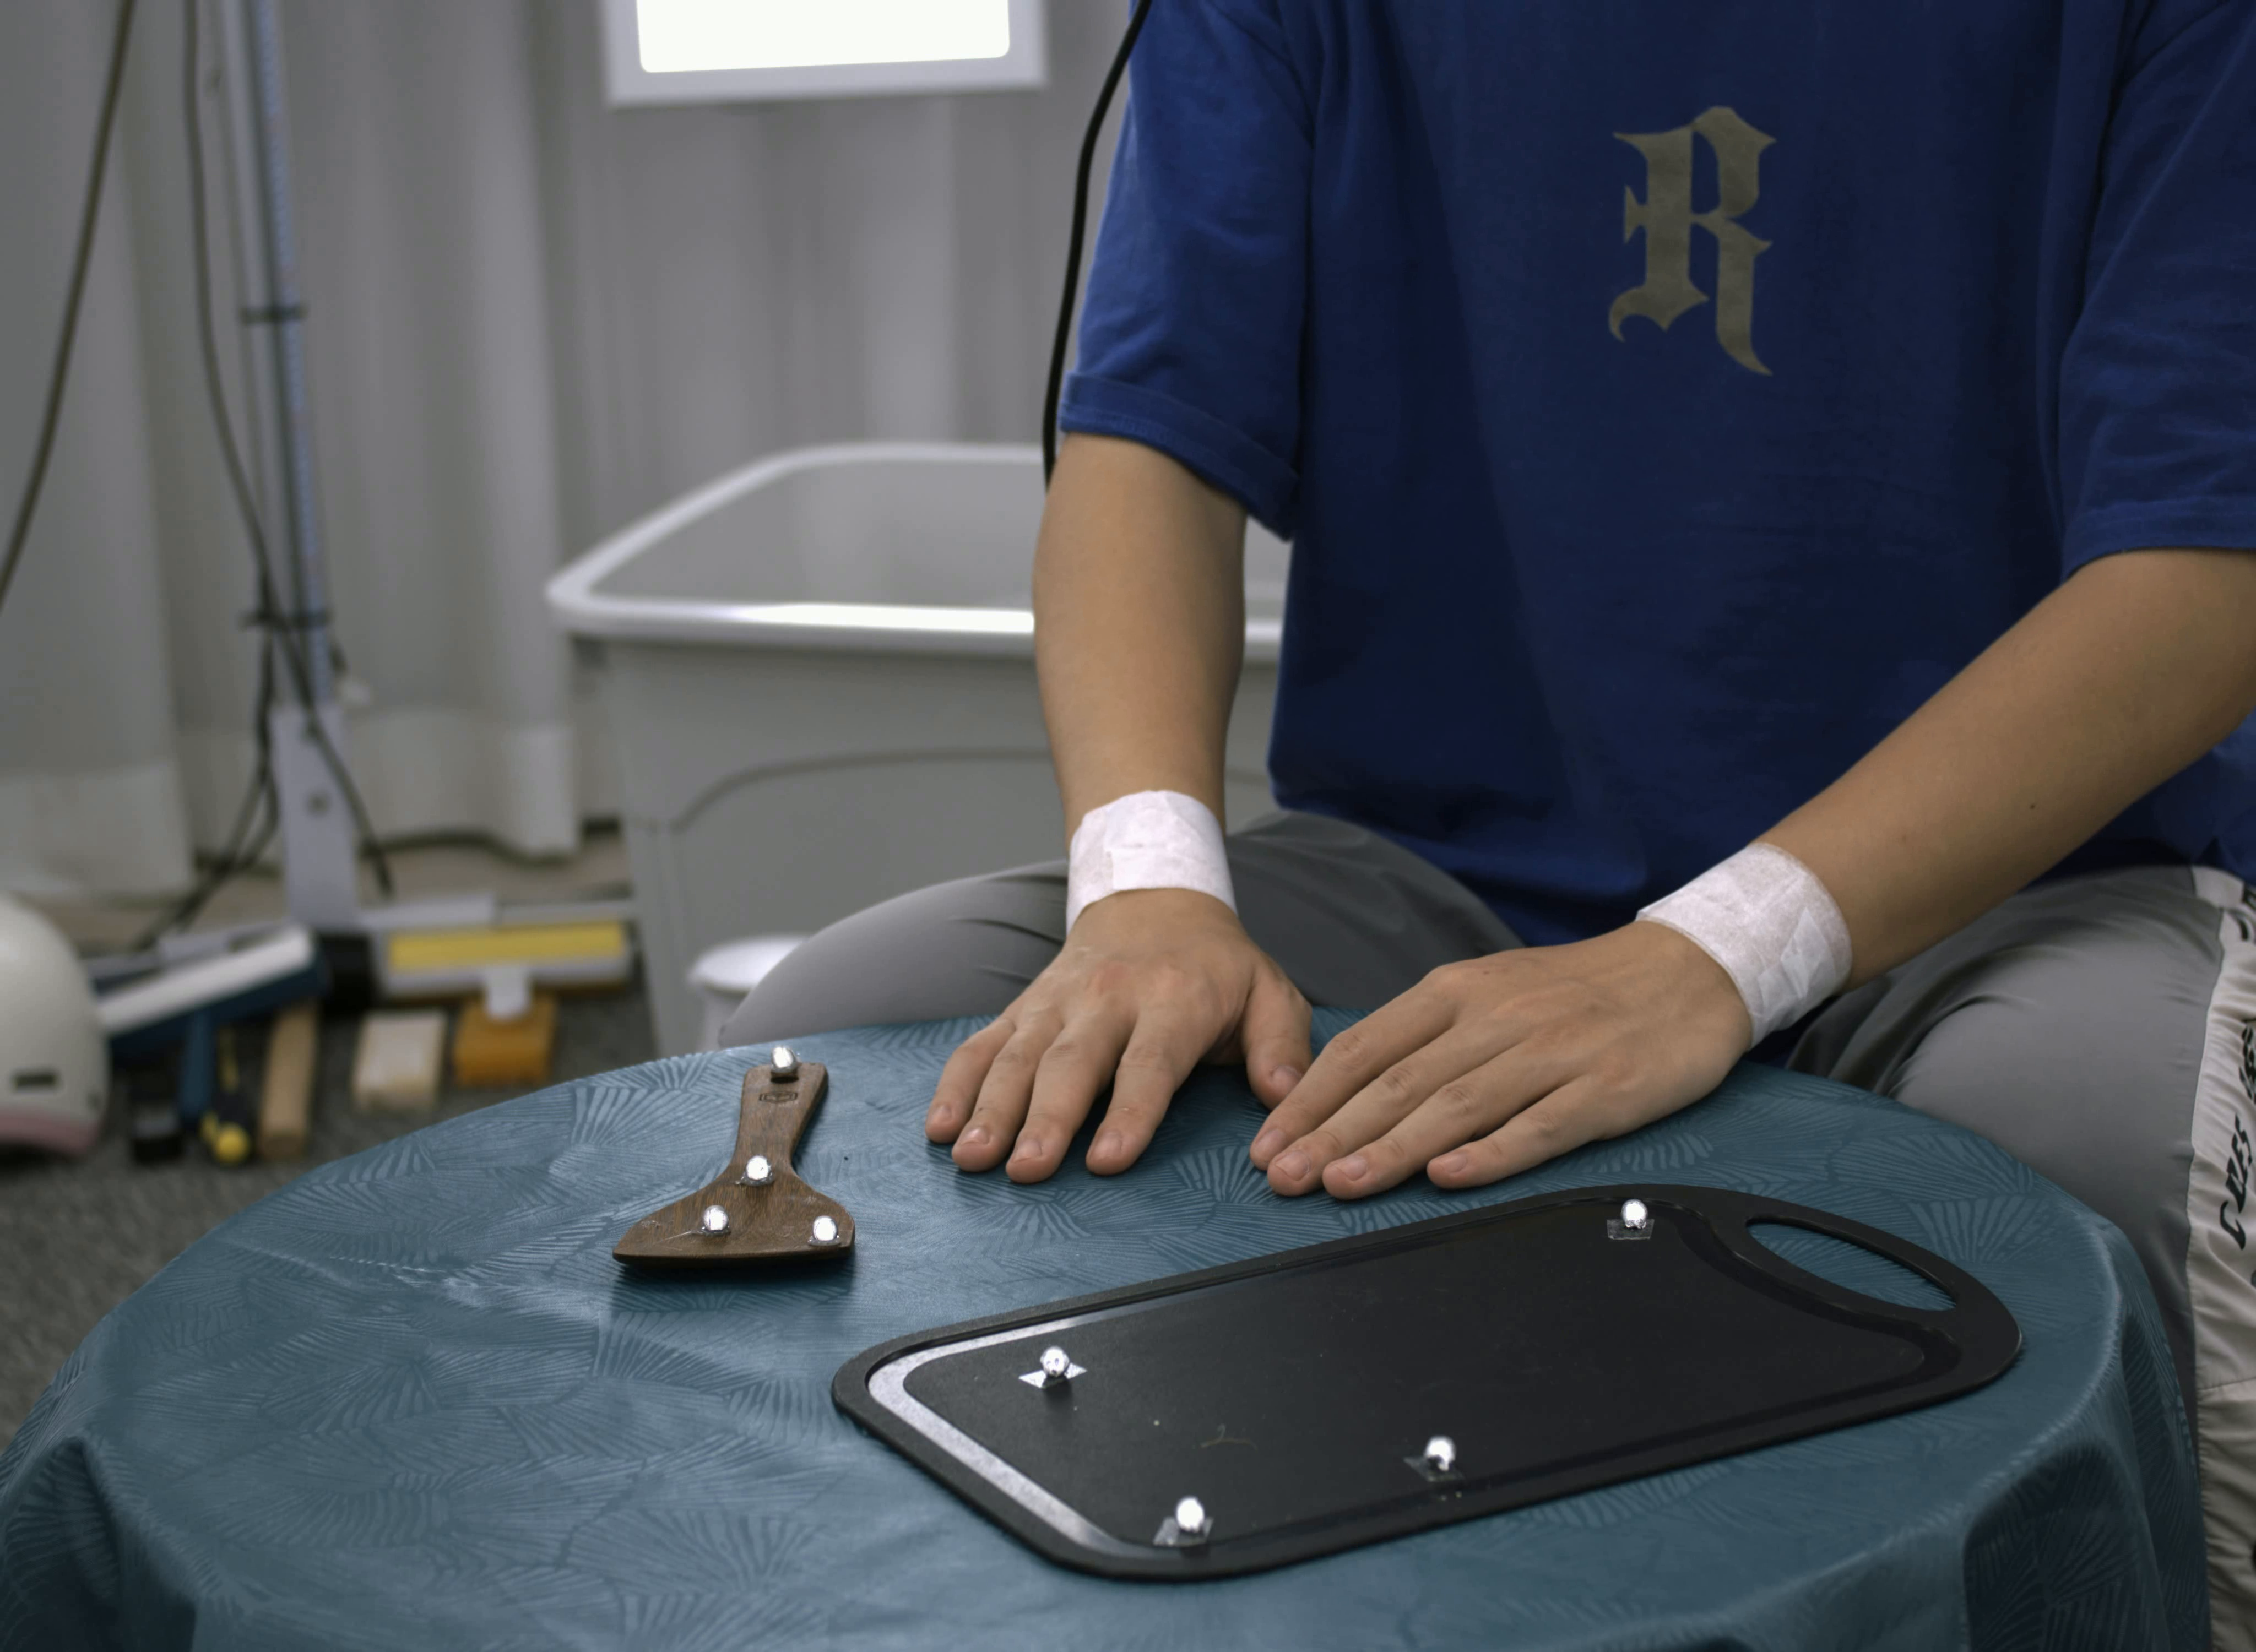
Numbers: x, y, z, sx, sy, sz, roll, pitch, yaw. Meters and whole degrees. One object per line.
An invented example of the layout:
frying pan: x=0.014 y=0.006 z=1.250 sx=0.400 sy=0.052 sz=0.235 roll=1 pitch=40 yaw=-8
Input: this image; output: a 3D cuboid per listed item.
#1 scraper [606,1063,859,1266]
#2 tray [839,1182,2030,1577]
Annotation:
scraper: x=-0.117 y=0.108 z=1.743 sx=0.075 sy=0.011 sz=0.212 roll=-1 pitch=14 yaw=2
tray: x=0.092 y=0.149 z=1.549 sx=0.324 sy=0.010 sz=0.213 roll=-10 pitch=16 yaw=-25
